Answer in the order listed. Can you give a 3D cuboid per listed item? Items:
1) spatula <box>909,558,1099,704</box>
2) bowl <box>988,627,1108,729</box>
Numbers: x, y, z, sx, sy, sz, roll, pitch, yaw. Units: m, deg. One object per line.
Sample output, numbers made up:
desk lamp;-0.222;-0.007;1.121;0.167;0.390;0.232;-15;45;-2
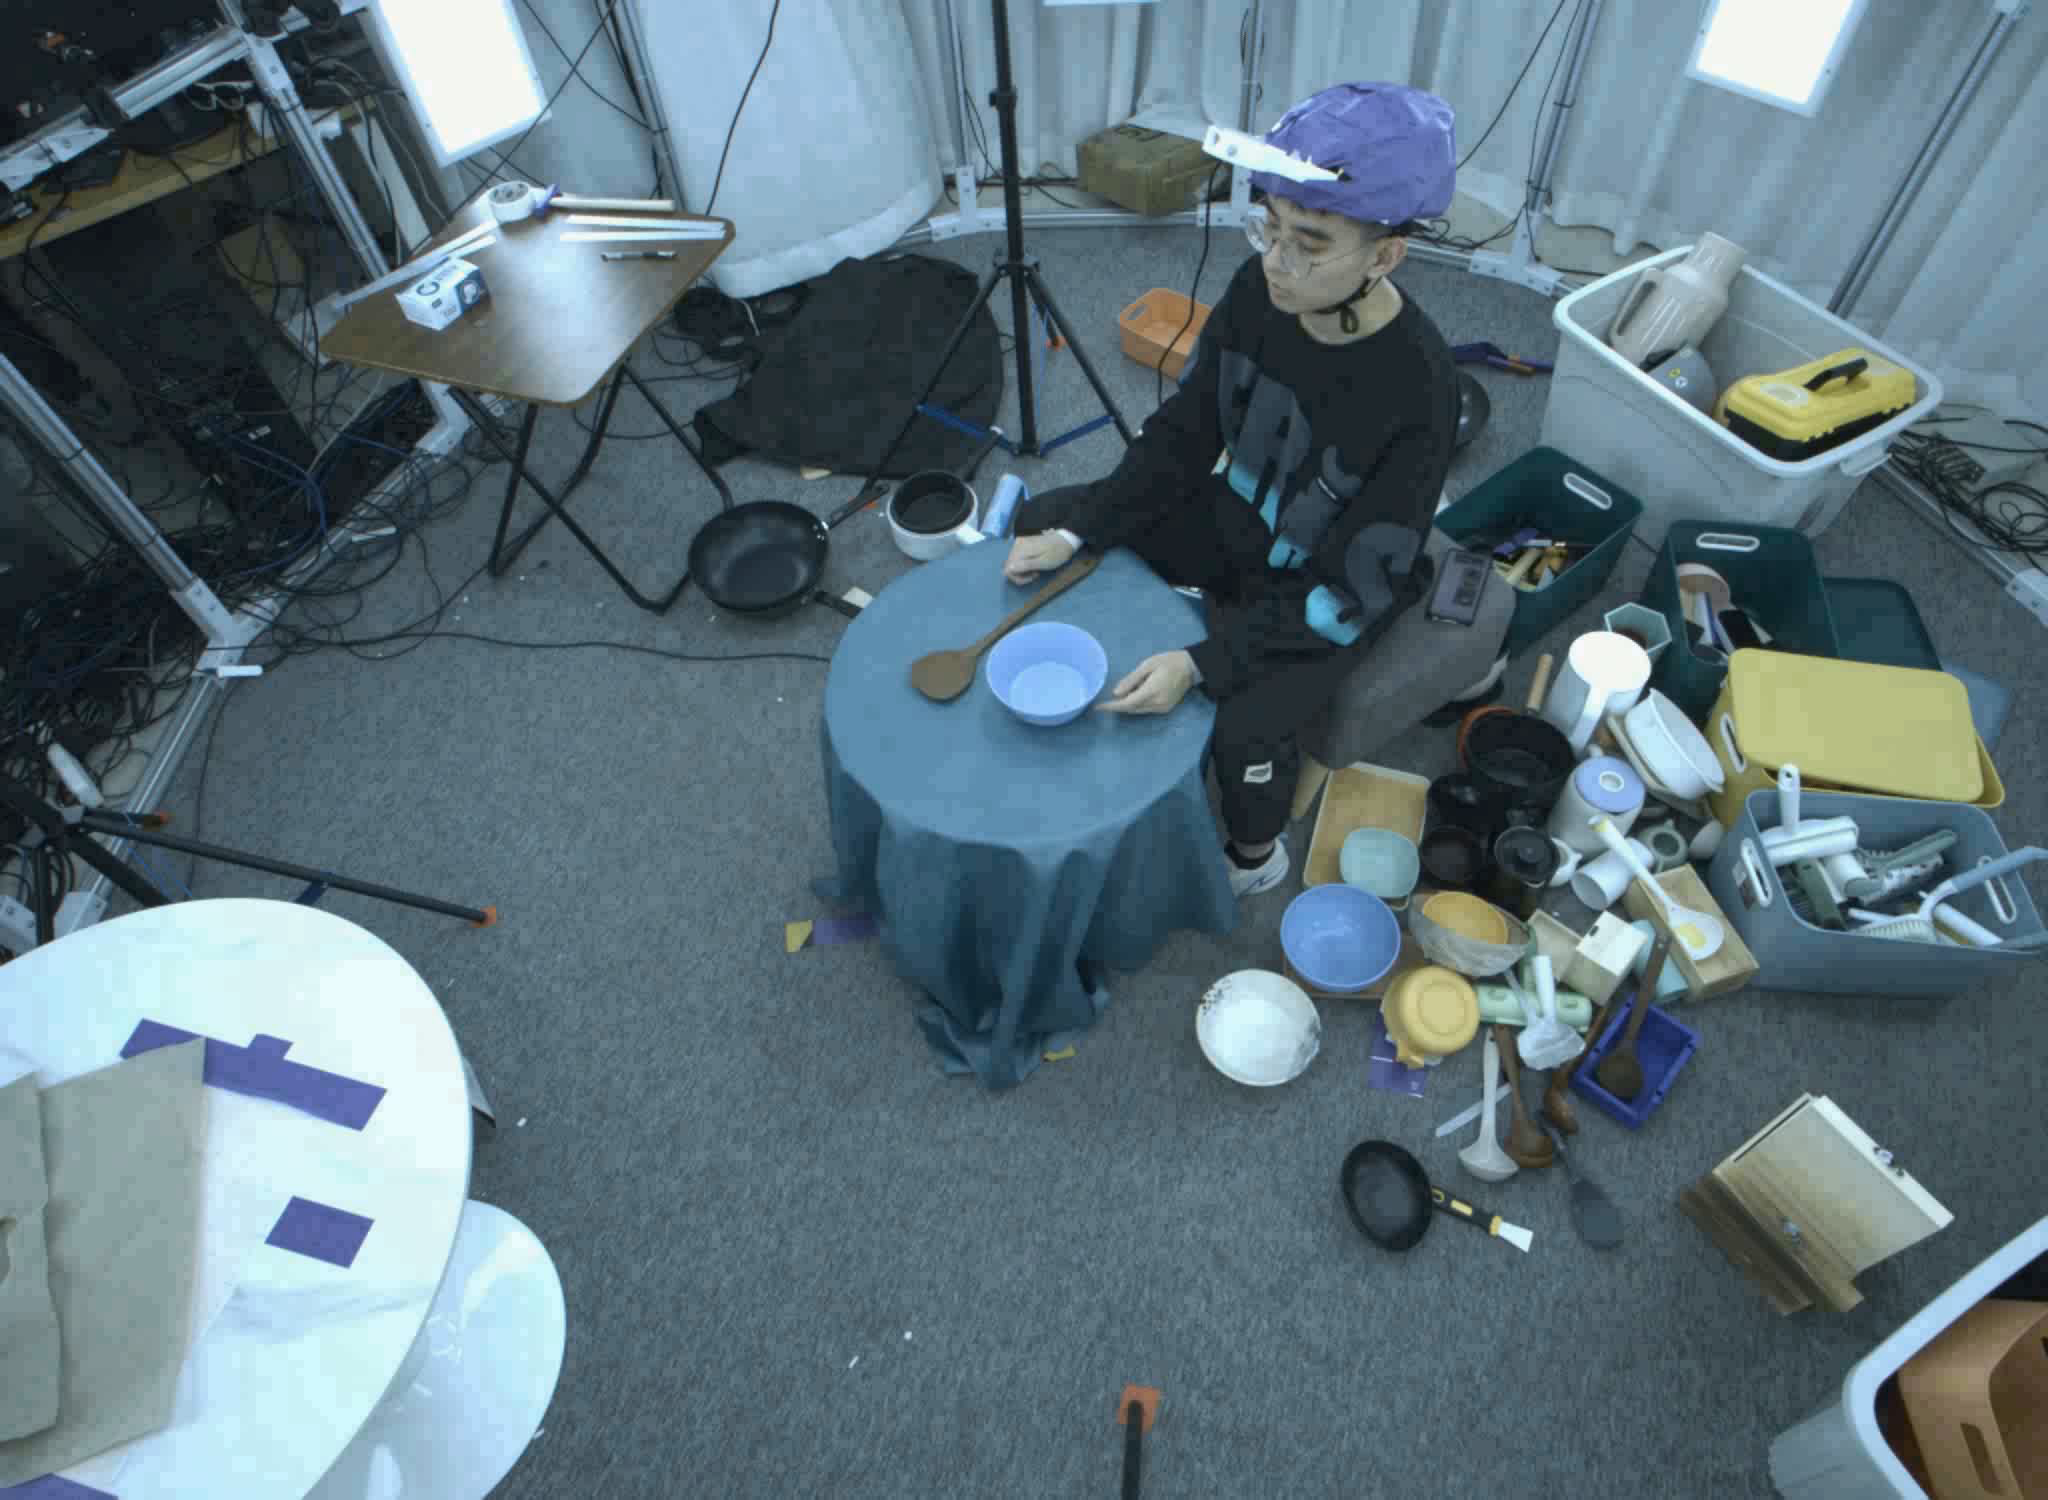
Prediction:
spatula;-0.018;-0.198;1.930;0.094;0.016;0.388;39;64;24
bowl;0.036;-0.097;1.822;0.176;0.071;0.174;0;55;1
